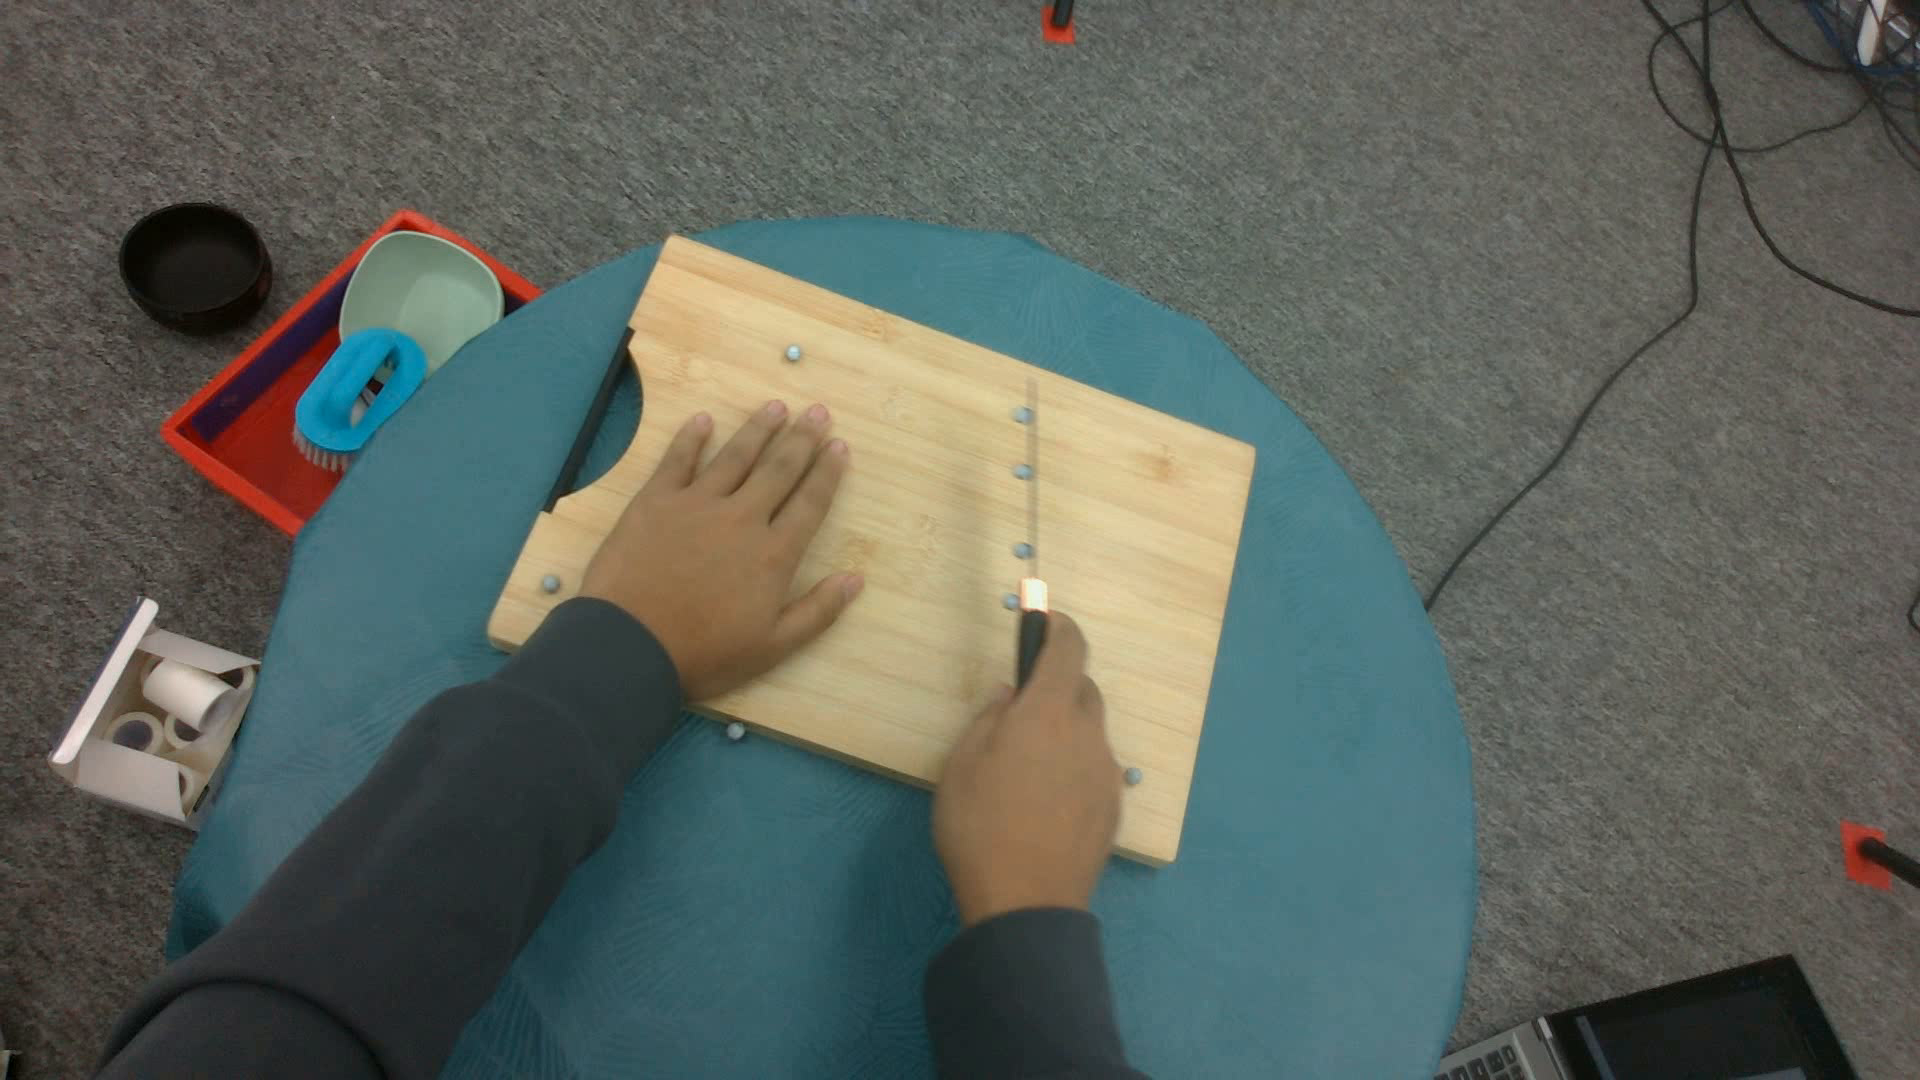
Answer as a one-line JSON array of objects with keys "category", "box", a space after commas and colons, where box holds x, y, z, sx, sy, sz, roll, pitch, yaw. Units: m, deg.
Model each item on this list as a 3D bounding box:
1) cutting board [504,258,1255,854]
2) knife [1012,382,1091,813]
[{"category": "cutting board", "box": [-0.026, 0.002, 0.719, 0.349, 0.023, 0.252, 15, 63, -5]}, {"category": "knife", "box": [0.042, 0.021, 0.670, 0.017, 0.026, 0.226, -6, 69, -2]}]
